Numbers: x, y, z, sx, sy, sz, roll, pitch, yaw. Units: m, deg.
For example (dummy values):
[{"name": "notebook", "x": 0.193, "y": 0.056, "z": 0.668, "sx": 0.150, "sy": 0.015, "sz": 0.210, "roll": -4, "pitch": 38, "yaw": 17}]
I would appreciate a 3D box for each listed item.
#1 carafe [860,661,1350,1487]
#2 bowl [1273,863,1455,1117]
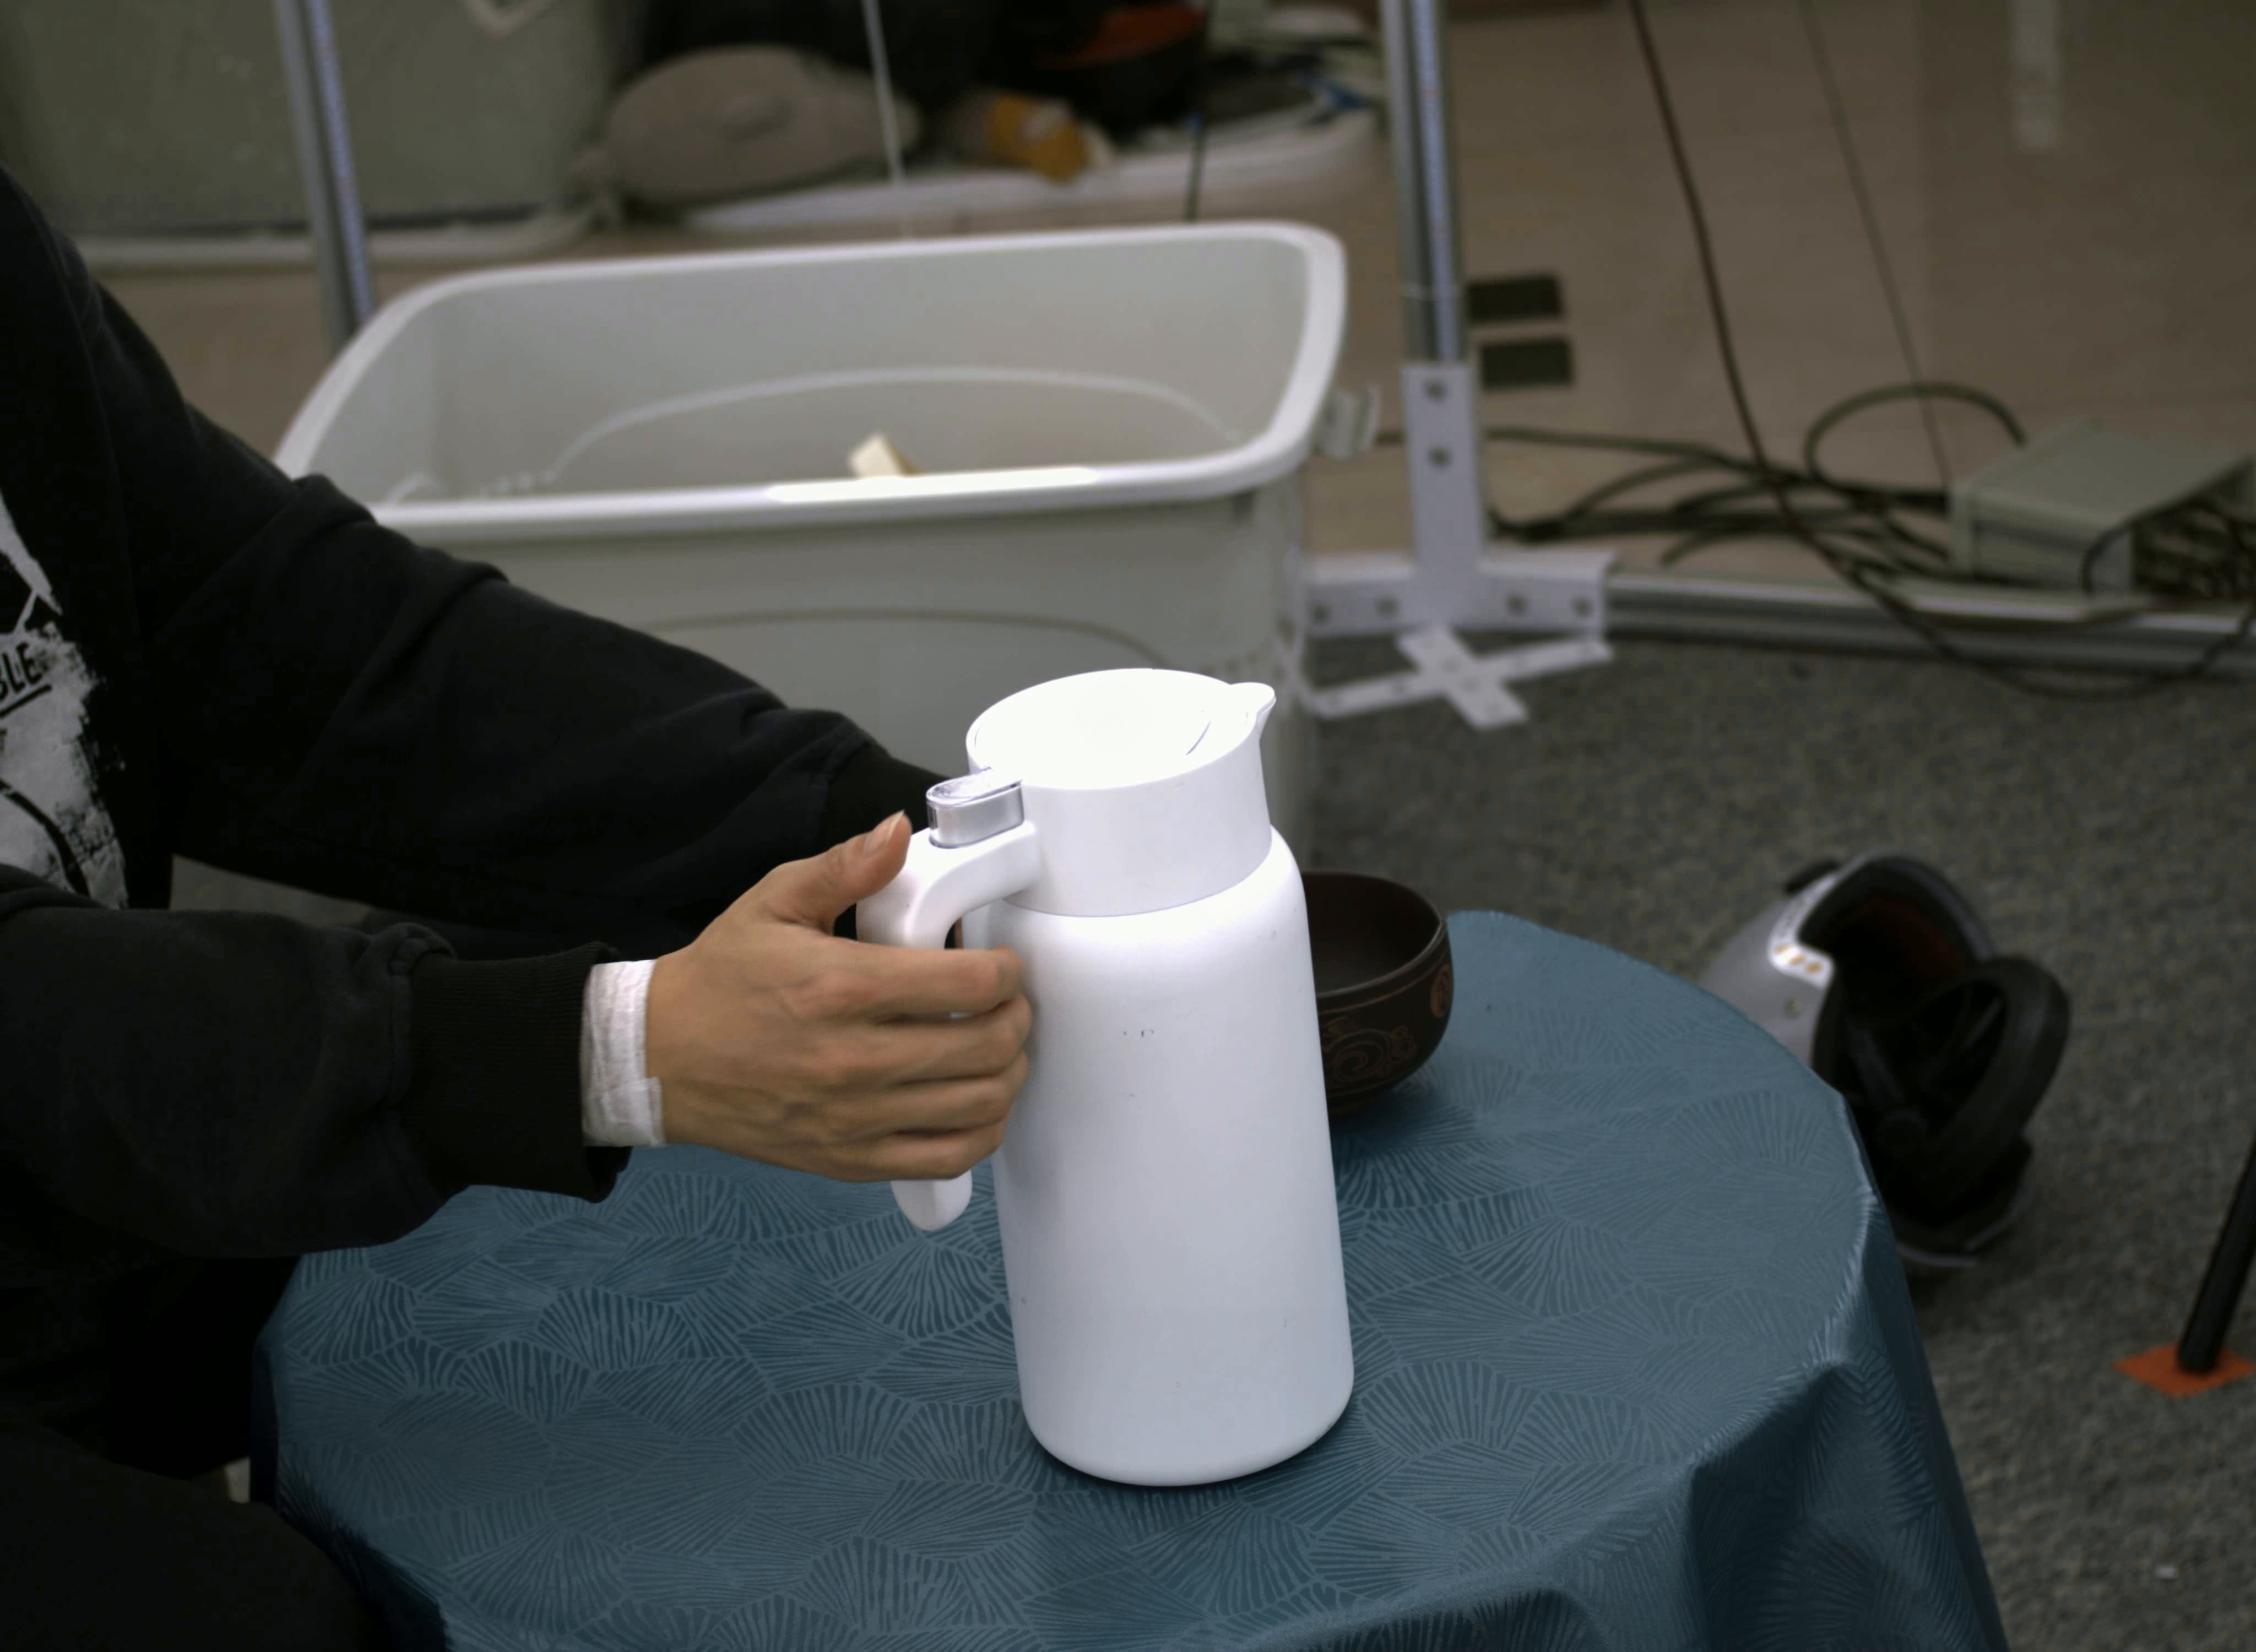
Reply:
[{"name": "carafe", "x": -0.005, "y": 0.092, "z": 1.931, "sx": 0.171, "sy": 0.273, "sz": 0.122, "roll": -25, "pitch": 33, "yaw": -33}, {"name": "bowl", "x": 0.069, "y": 0.070, "z": 2.193, "sx": 0.118, "sy": 0.071, "sz": 0.116, "roll": -6, "pitch": 26, "yaw": 3}]
